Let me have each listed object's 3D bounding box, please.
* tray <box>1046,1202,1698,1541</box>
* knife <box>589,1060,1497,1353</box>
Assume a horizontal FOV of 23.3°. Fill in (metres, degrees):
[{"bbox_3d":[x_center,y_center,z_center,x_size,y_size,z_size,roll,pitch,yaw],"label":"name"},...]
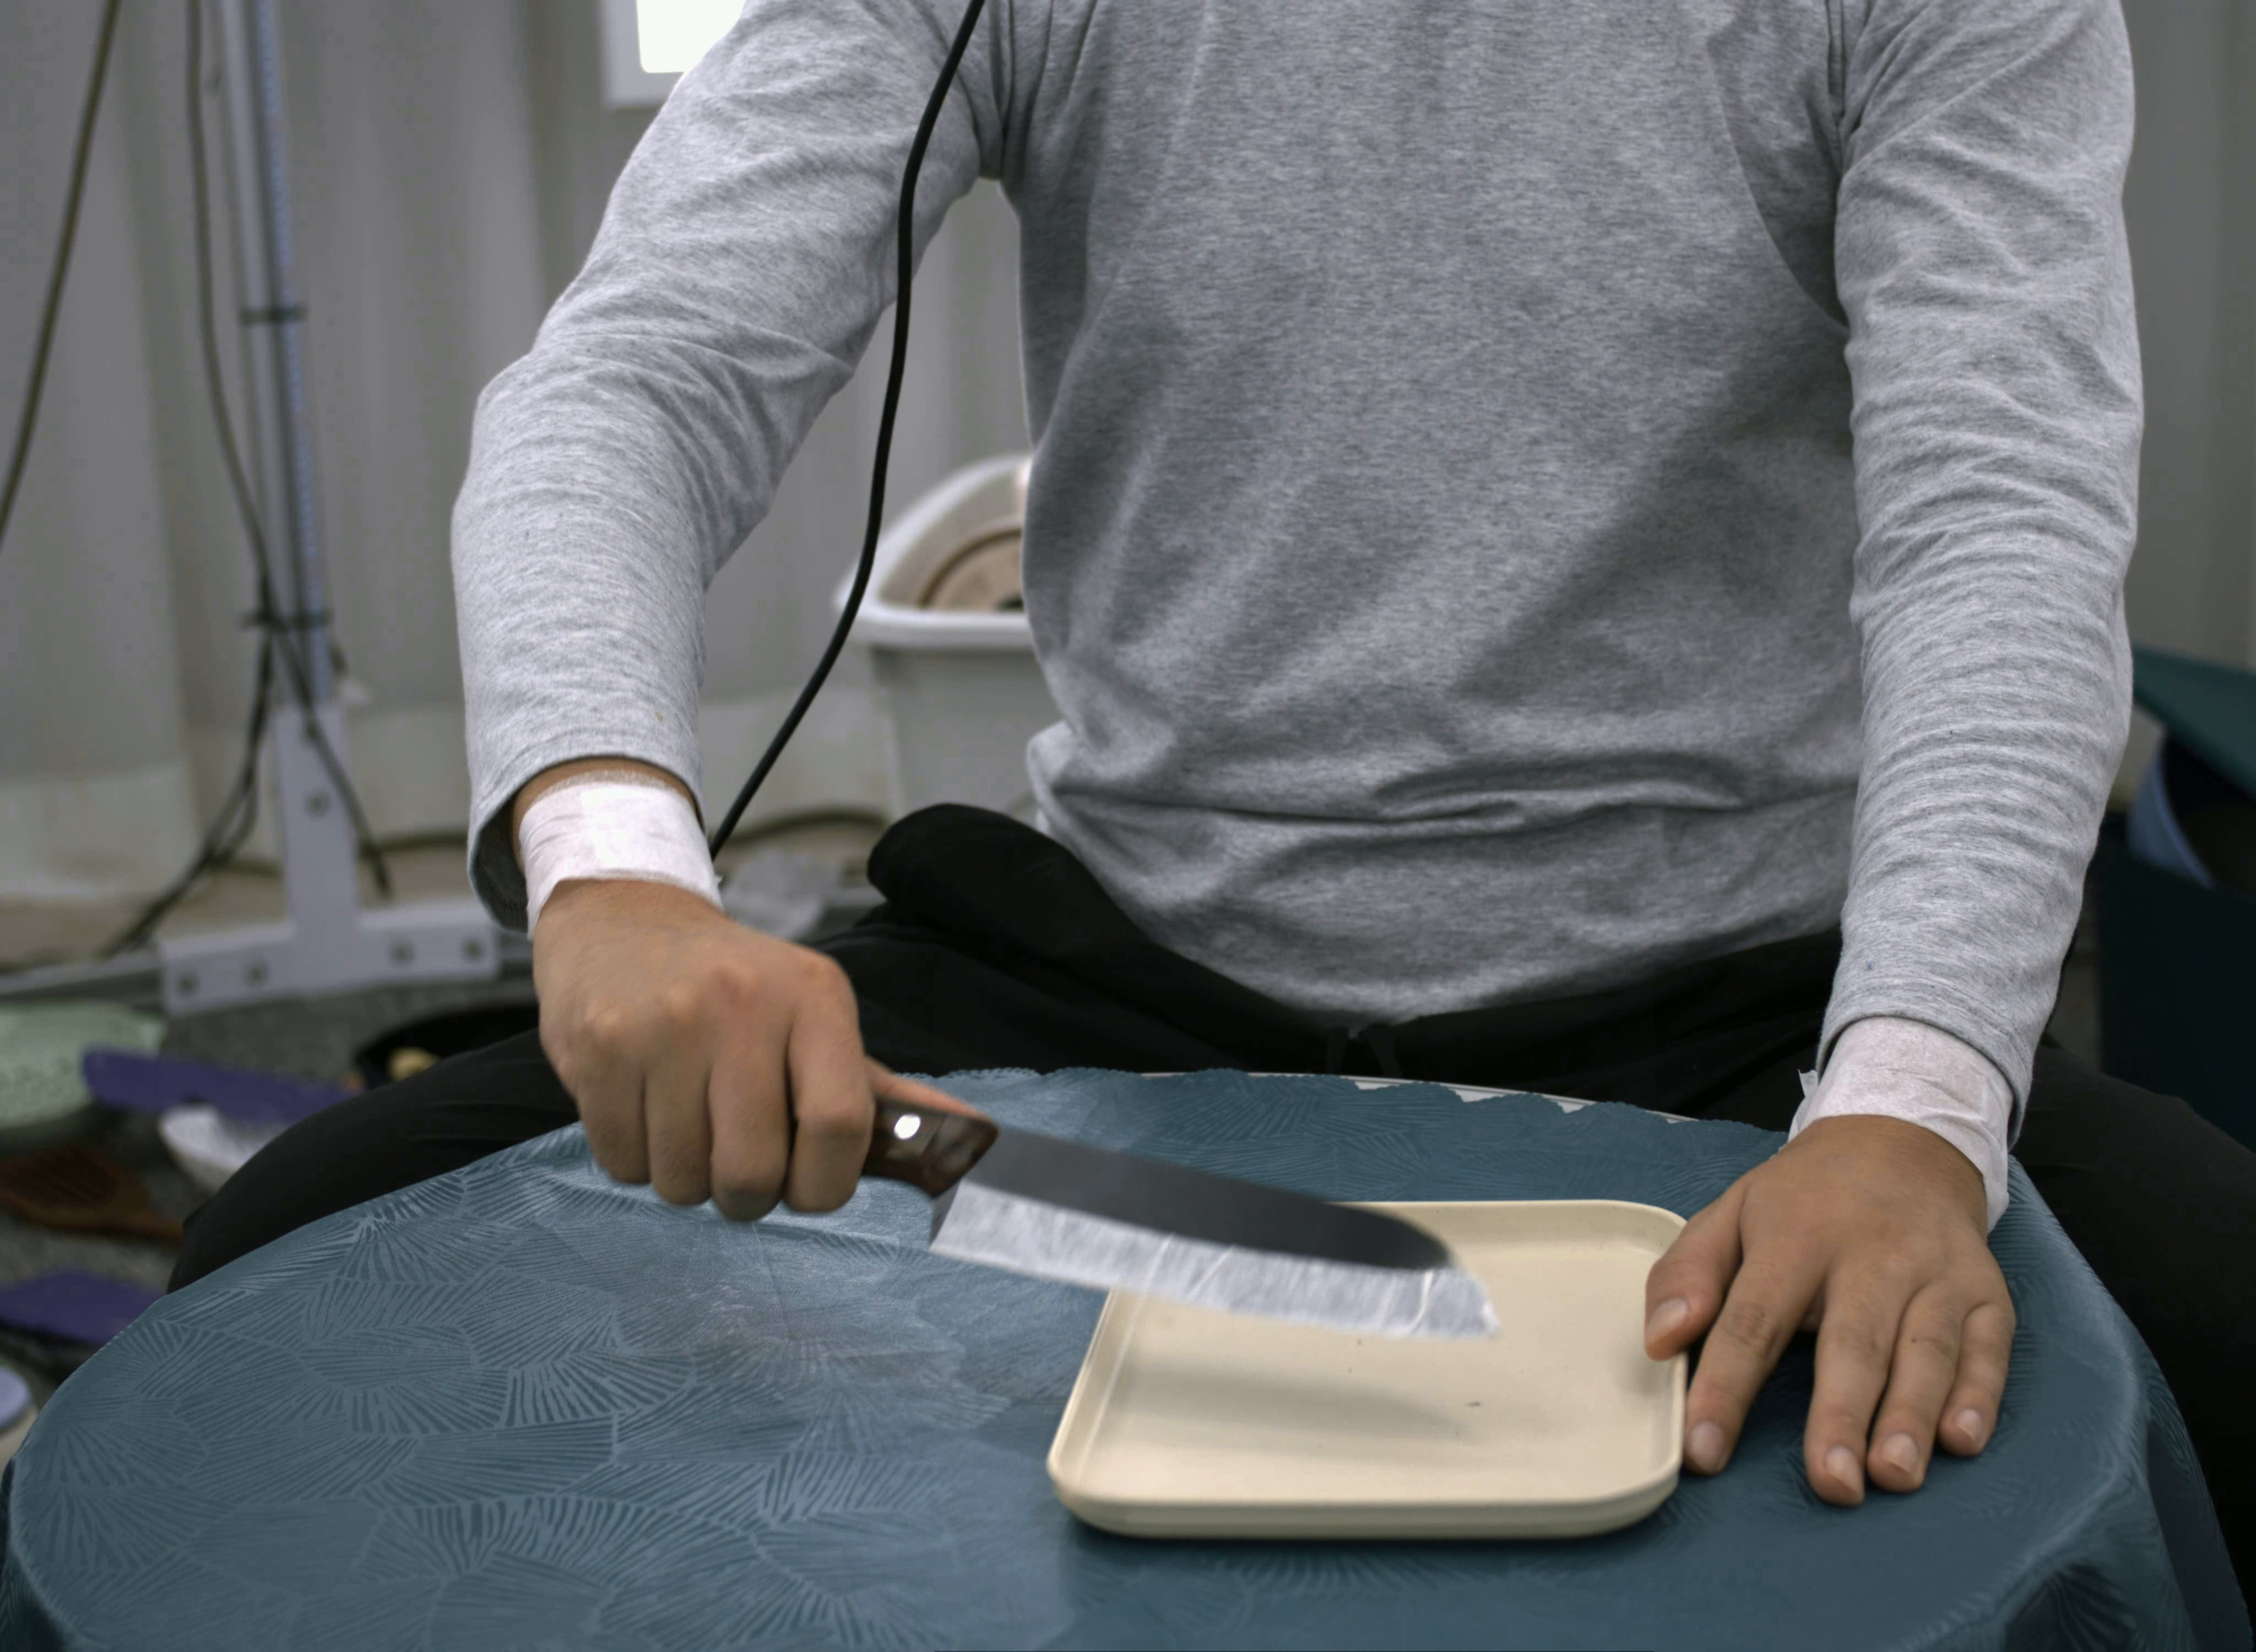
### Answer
[{"bbox_3d":[0.073,0.152,1.531,0.171,0.017,0.241,0,15,8],"label":"tray"},{"bbox_3d":[-0.028,0.107,1.534,0.290,0.020,0.051,13,59,24],"label":"knife"}]
